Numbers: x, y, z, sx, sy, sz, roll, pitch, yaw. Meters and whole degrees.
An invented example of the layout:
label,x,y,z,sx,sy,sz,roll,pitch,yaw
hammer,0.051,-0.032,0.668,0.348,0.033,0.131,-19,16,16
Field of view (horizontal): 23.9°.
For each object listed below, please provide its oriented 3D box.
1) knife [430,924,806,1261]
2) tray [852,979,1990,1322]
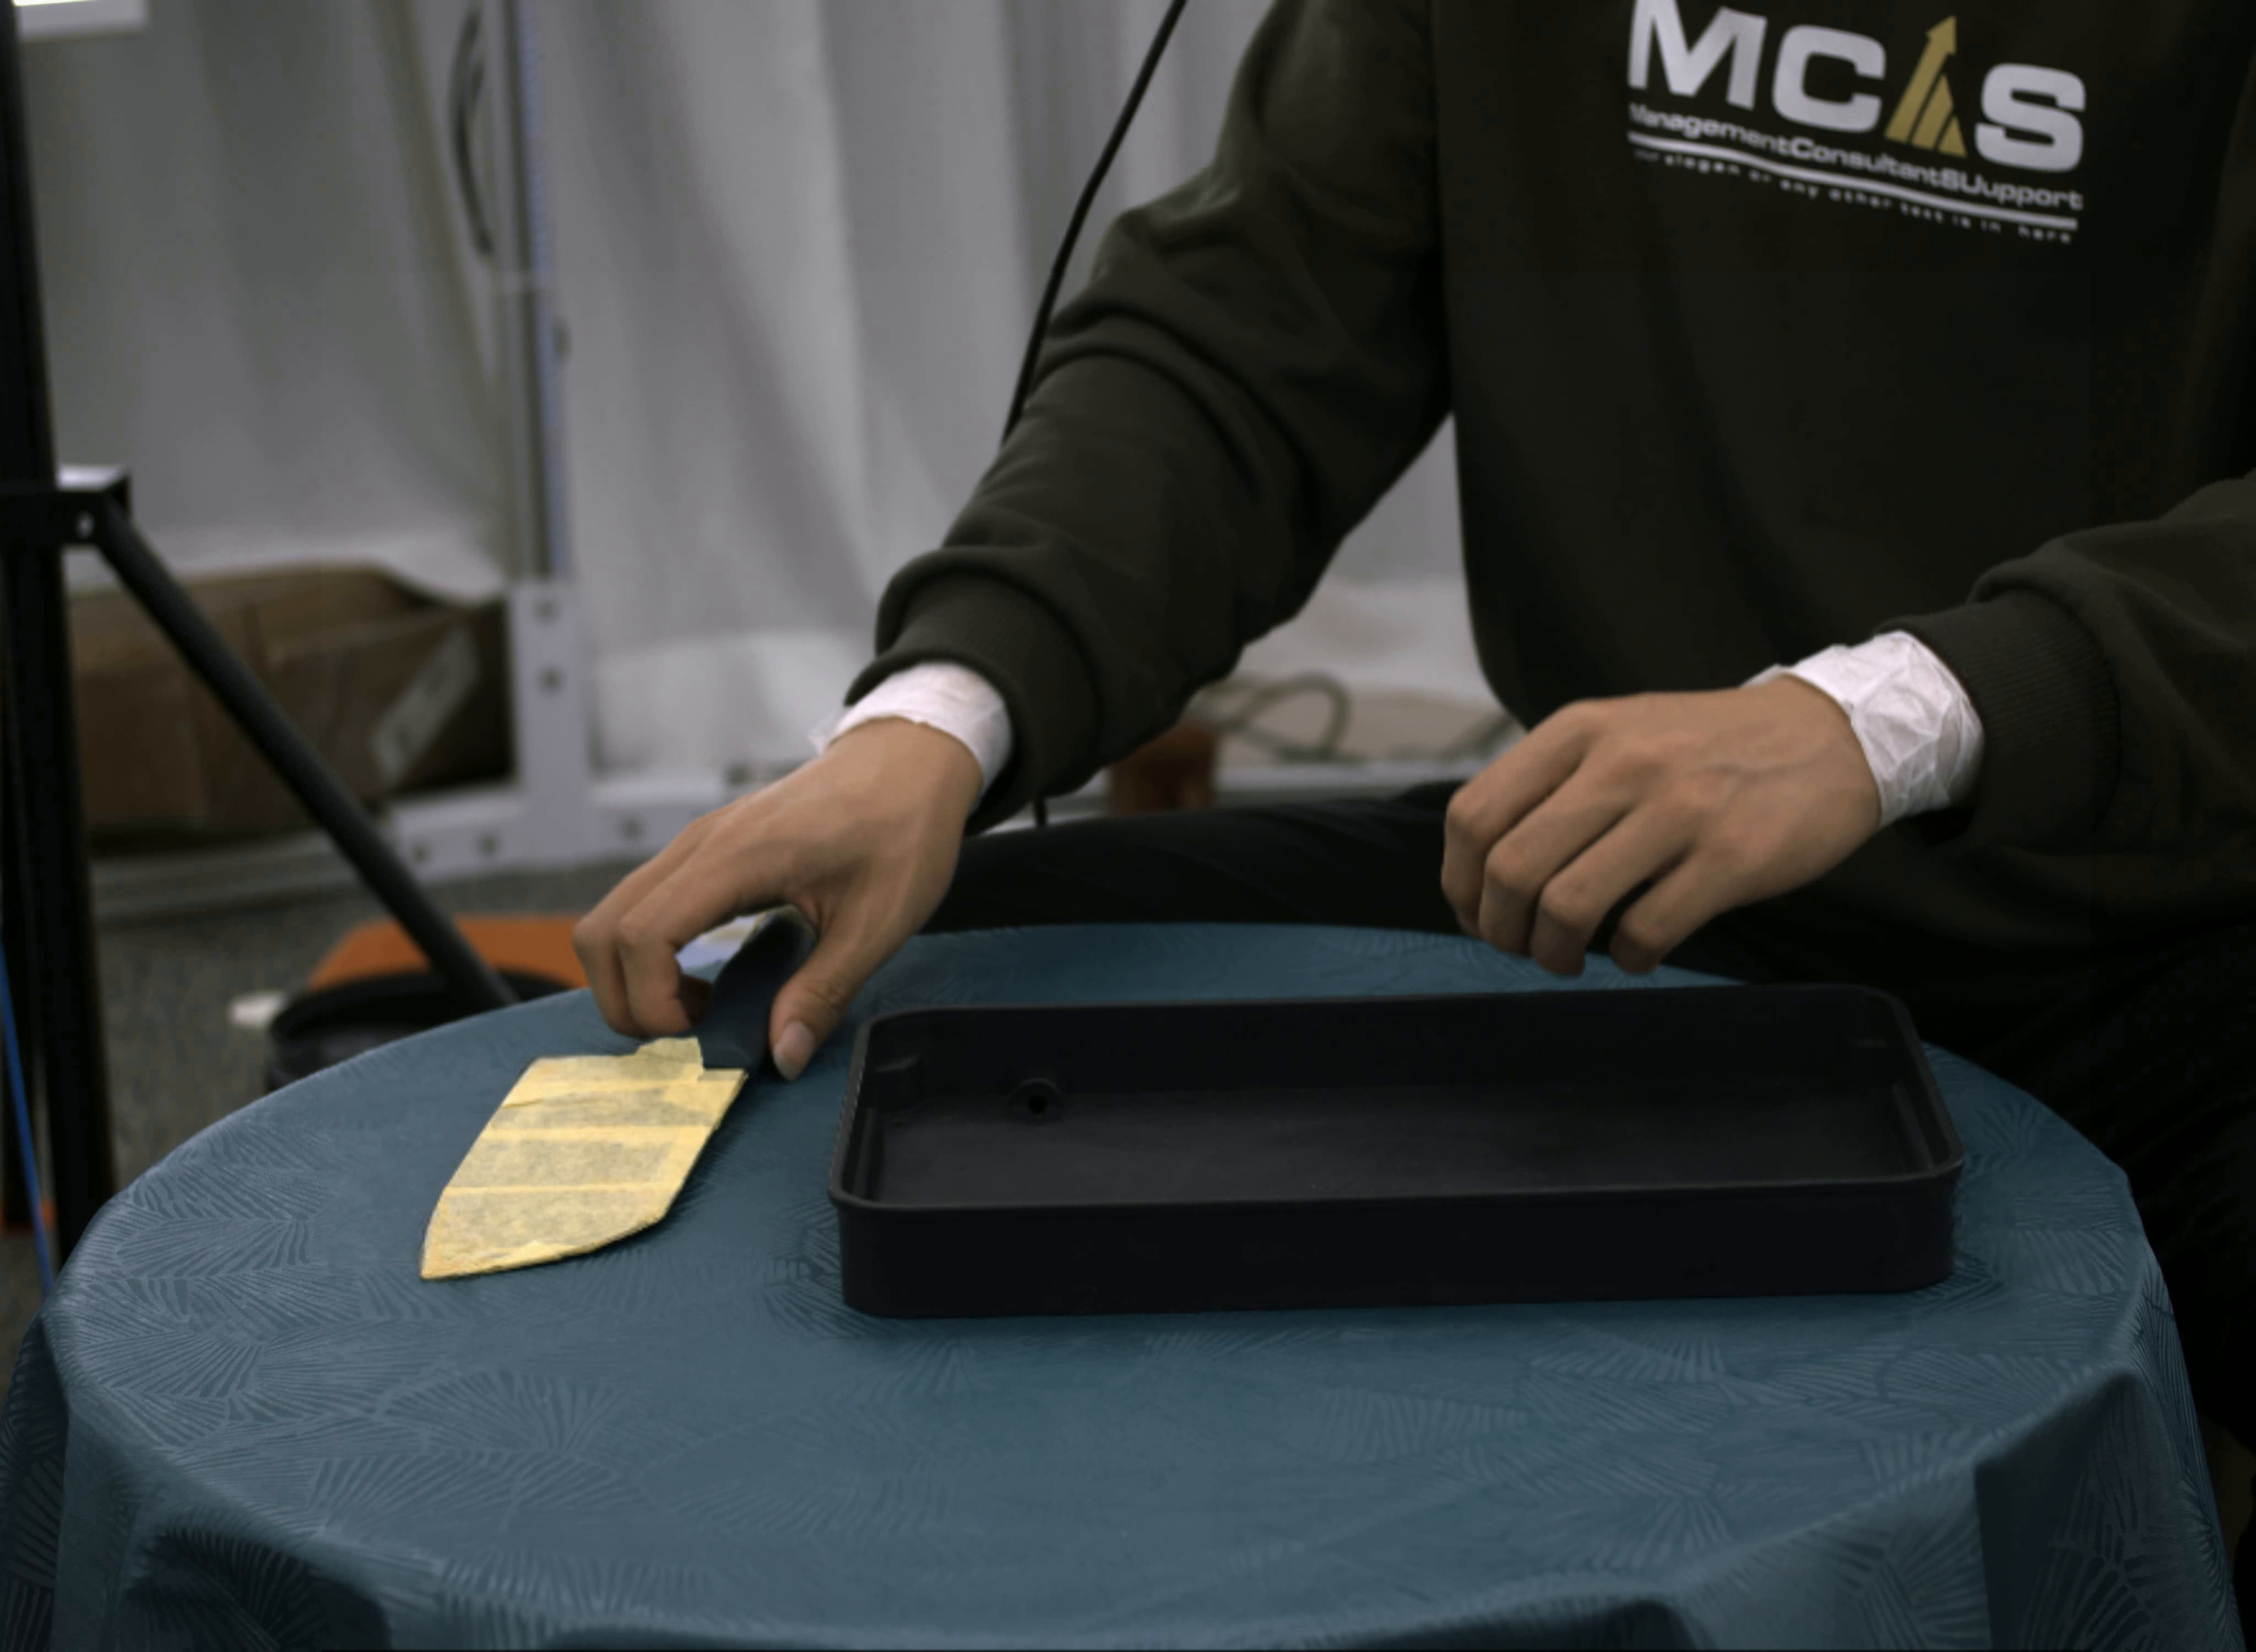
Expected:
label,x,y,z,sx,sy,sz,roll,pitch,yaw
knife,-0.153,0.082,1.650,0.081,0.027,0.288,2,17,12
tray,0.081,0.092,1.540,0.317,0.037,0.185,-2,15,1
